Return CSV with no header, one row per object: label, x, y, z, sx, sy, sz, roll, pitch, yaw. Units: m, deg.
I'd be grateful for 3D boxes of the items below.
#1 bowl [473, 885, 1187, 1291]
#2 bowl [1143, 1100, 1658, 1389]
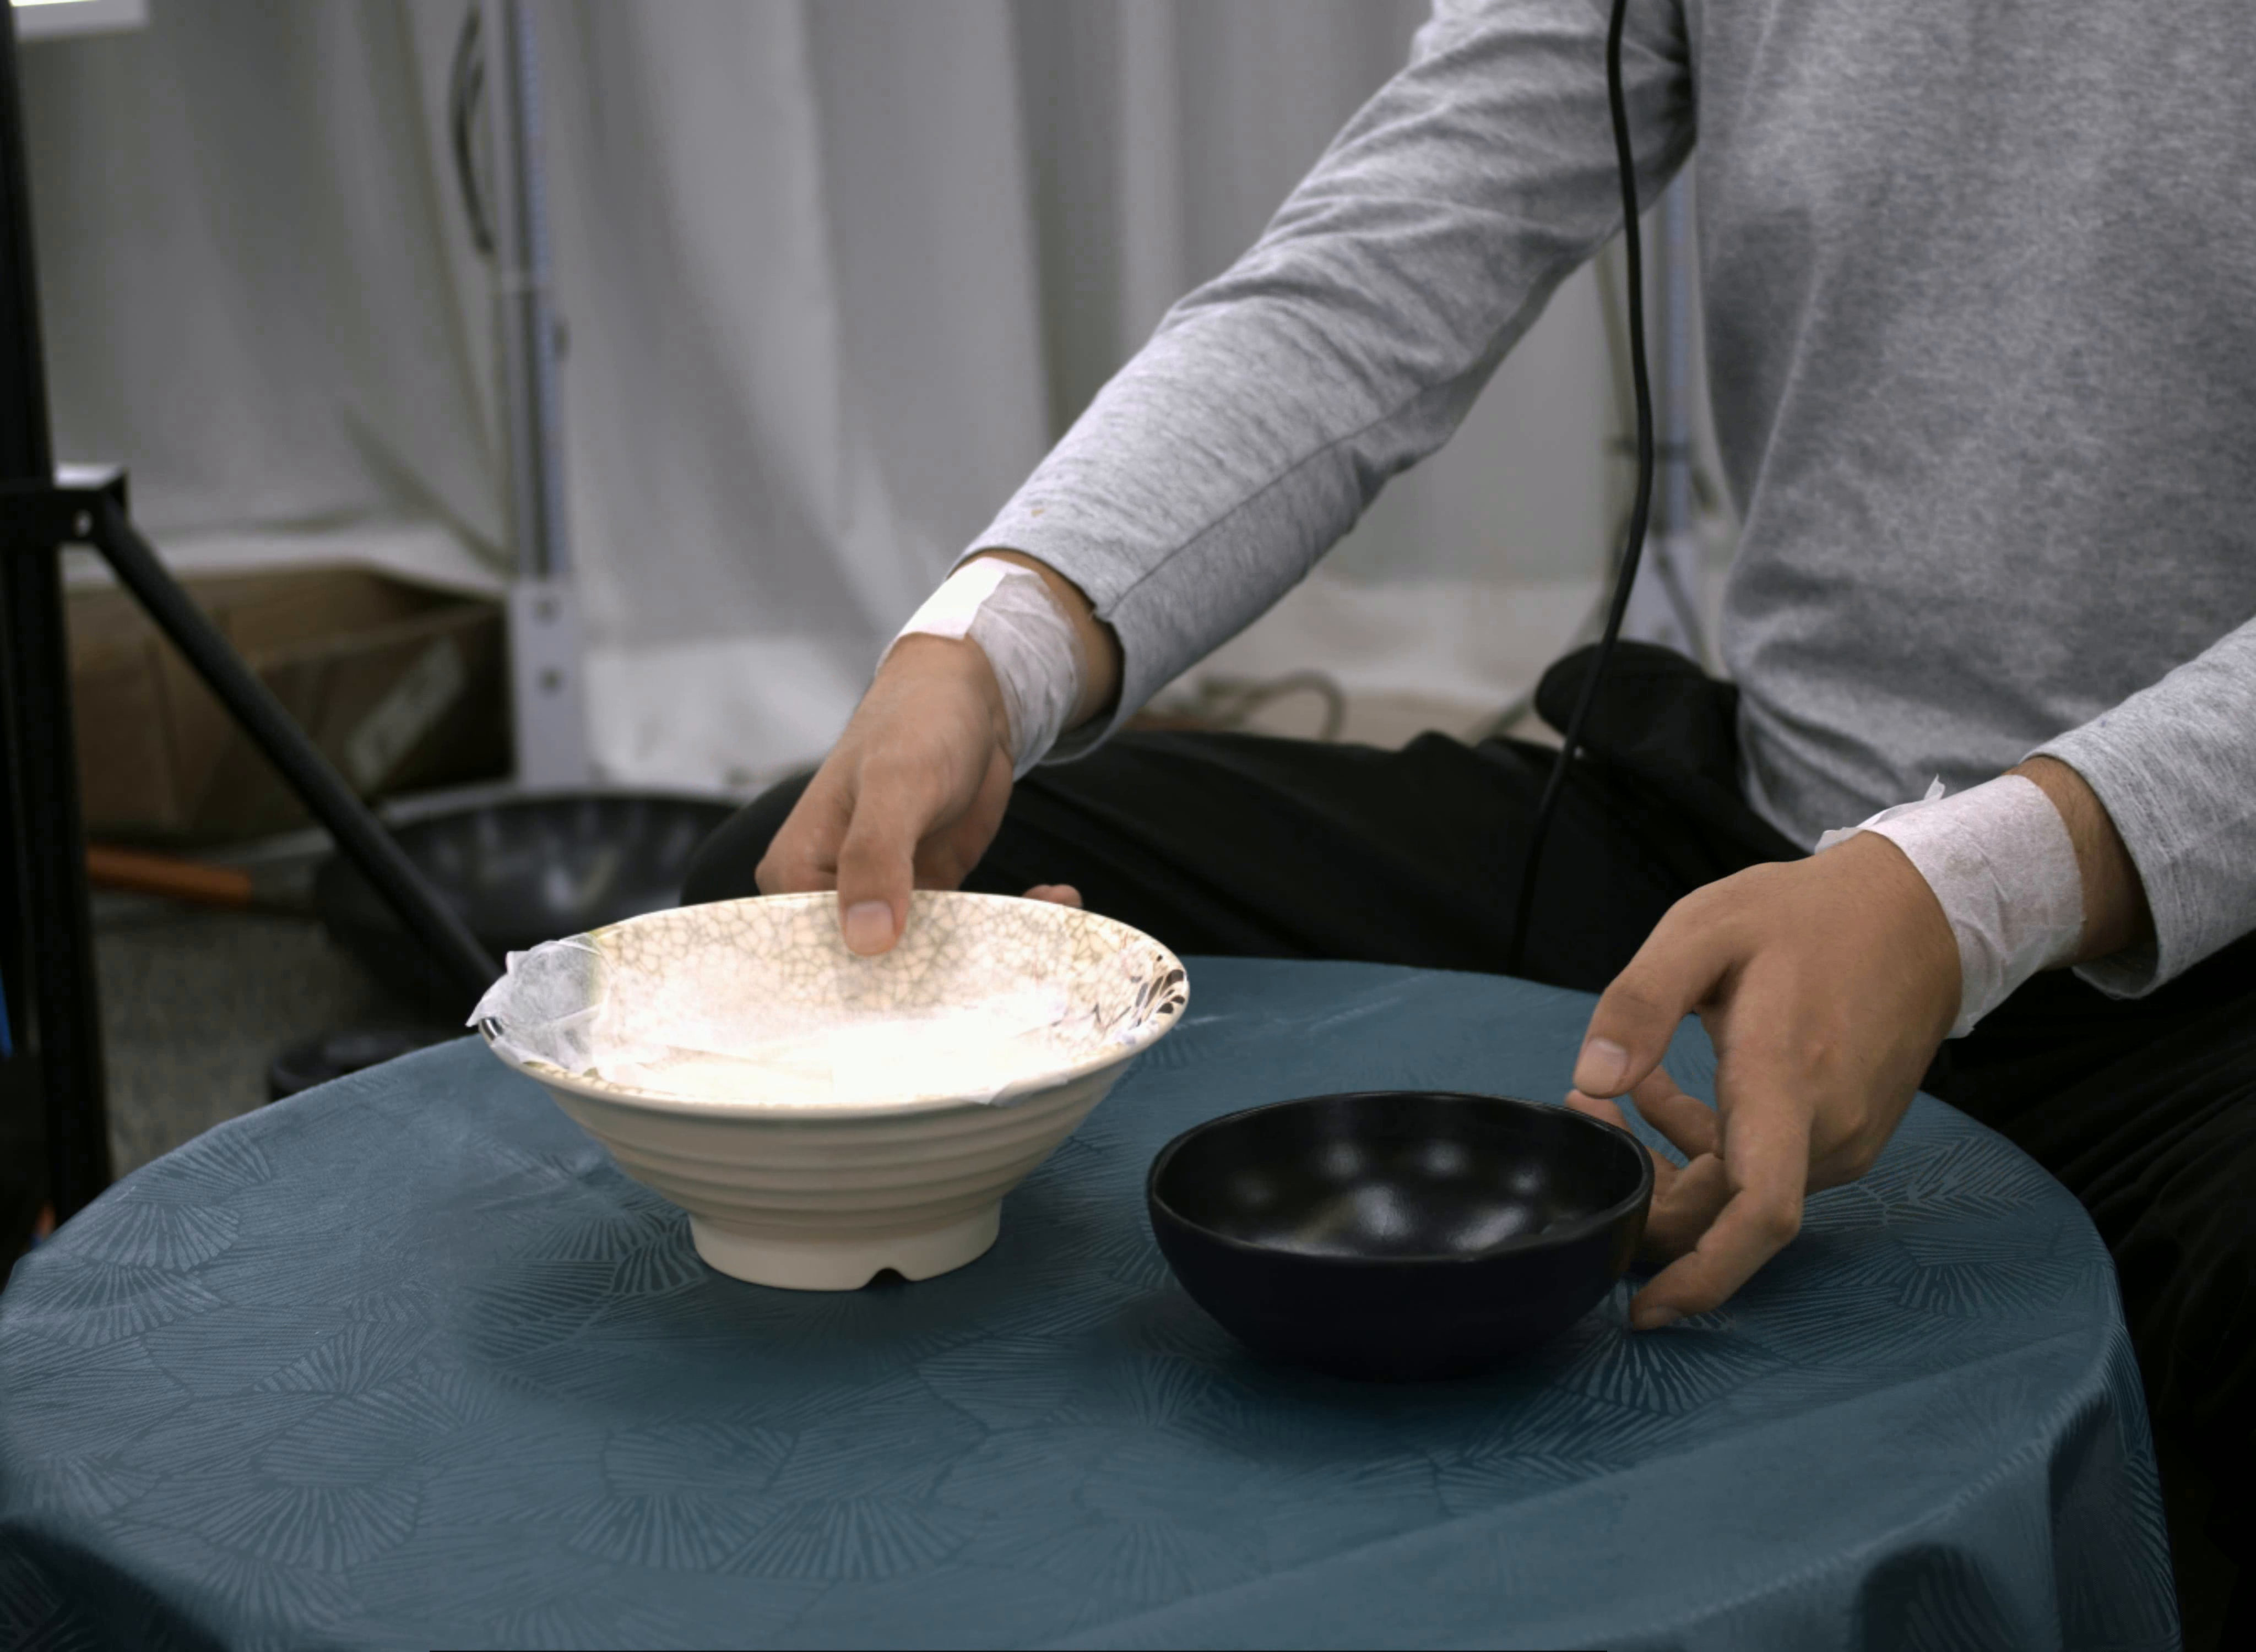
bowl,-0.084,0.082,1.525,0.203,0.078,0.205,-1,15,-1
bowl,0.073,0.118,1.433,0.139,0.050,0.140,1,14,-2
